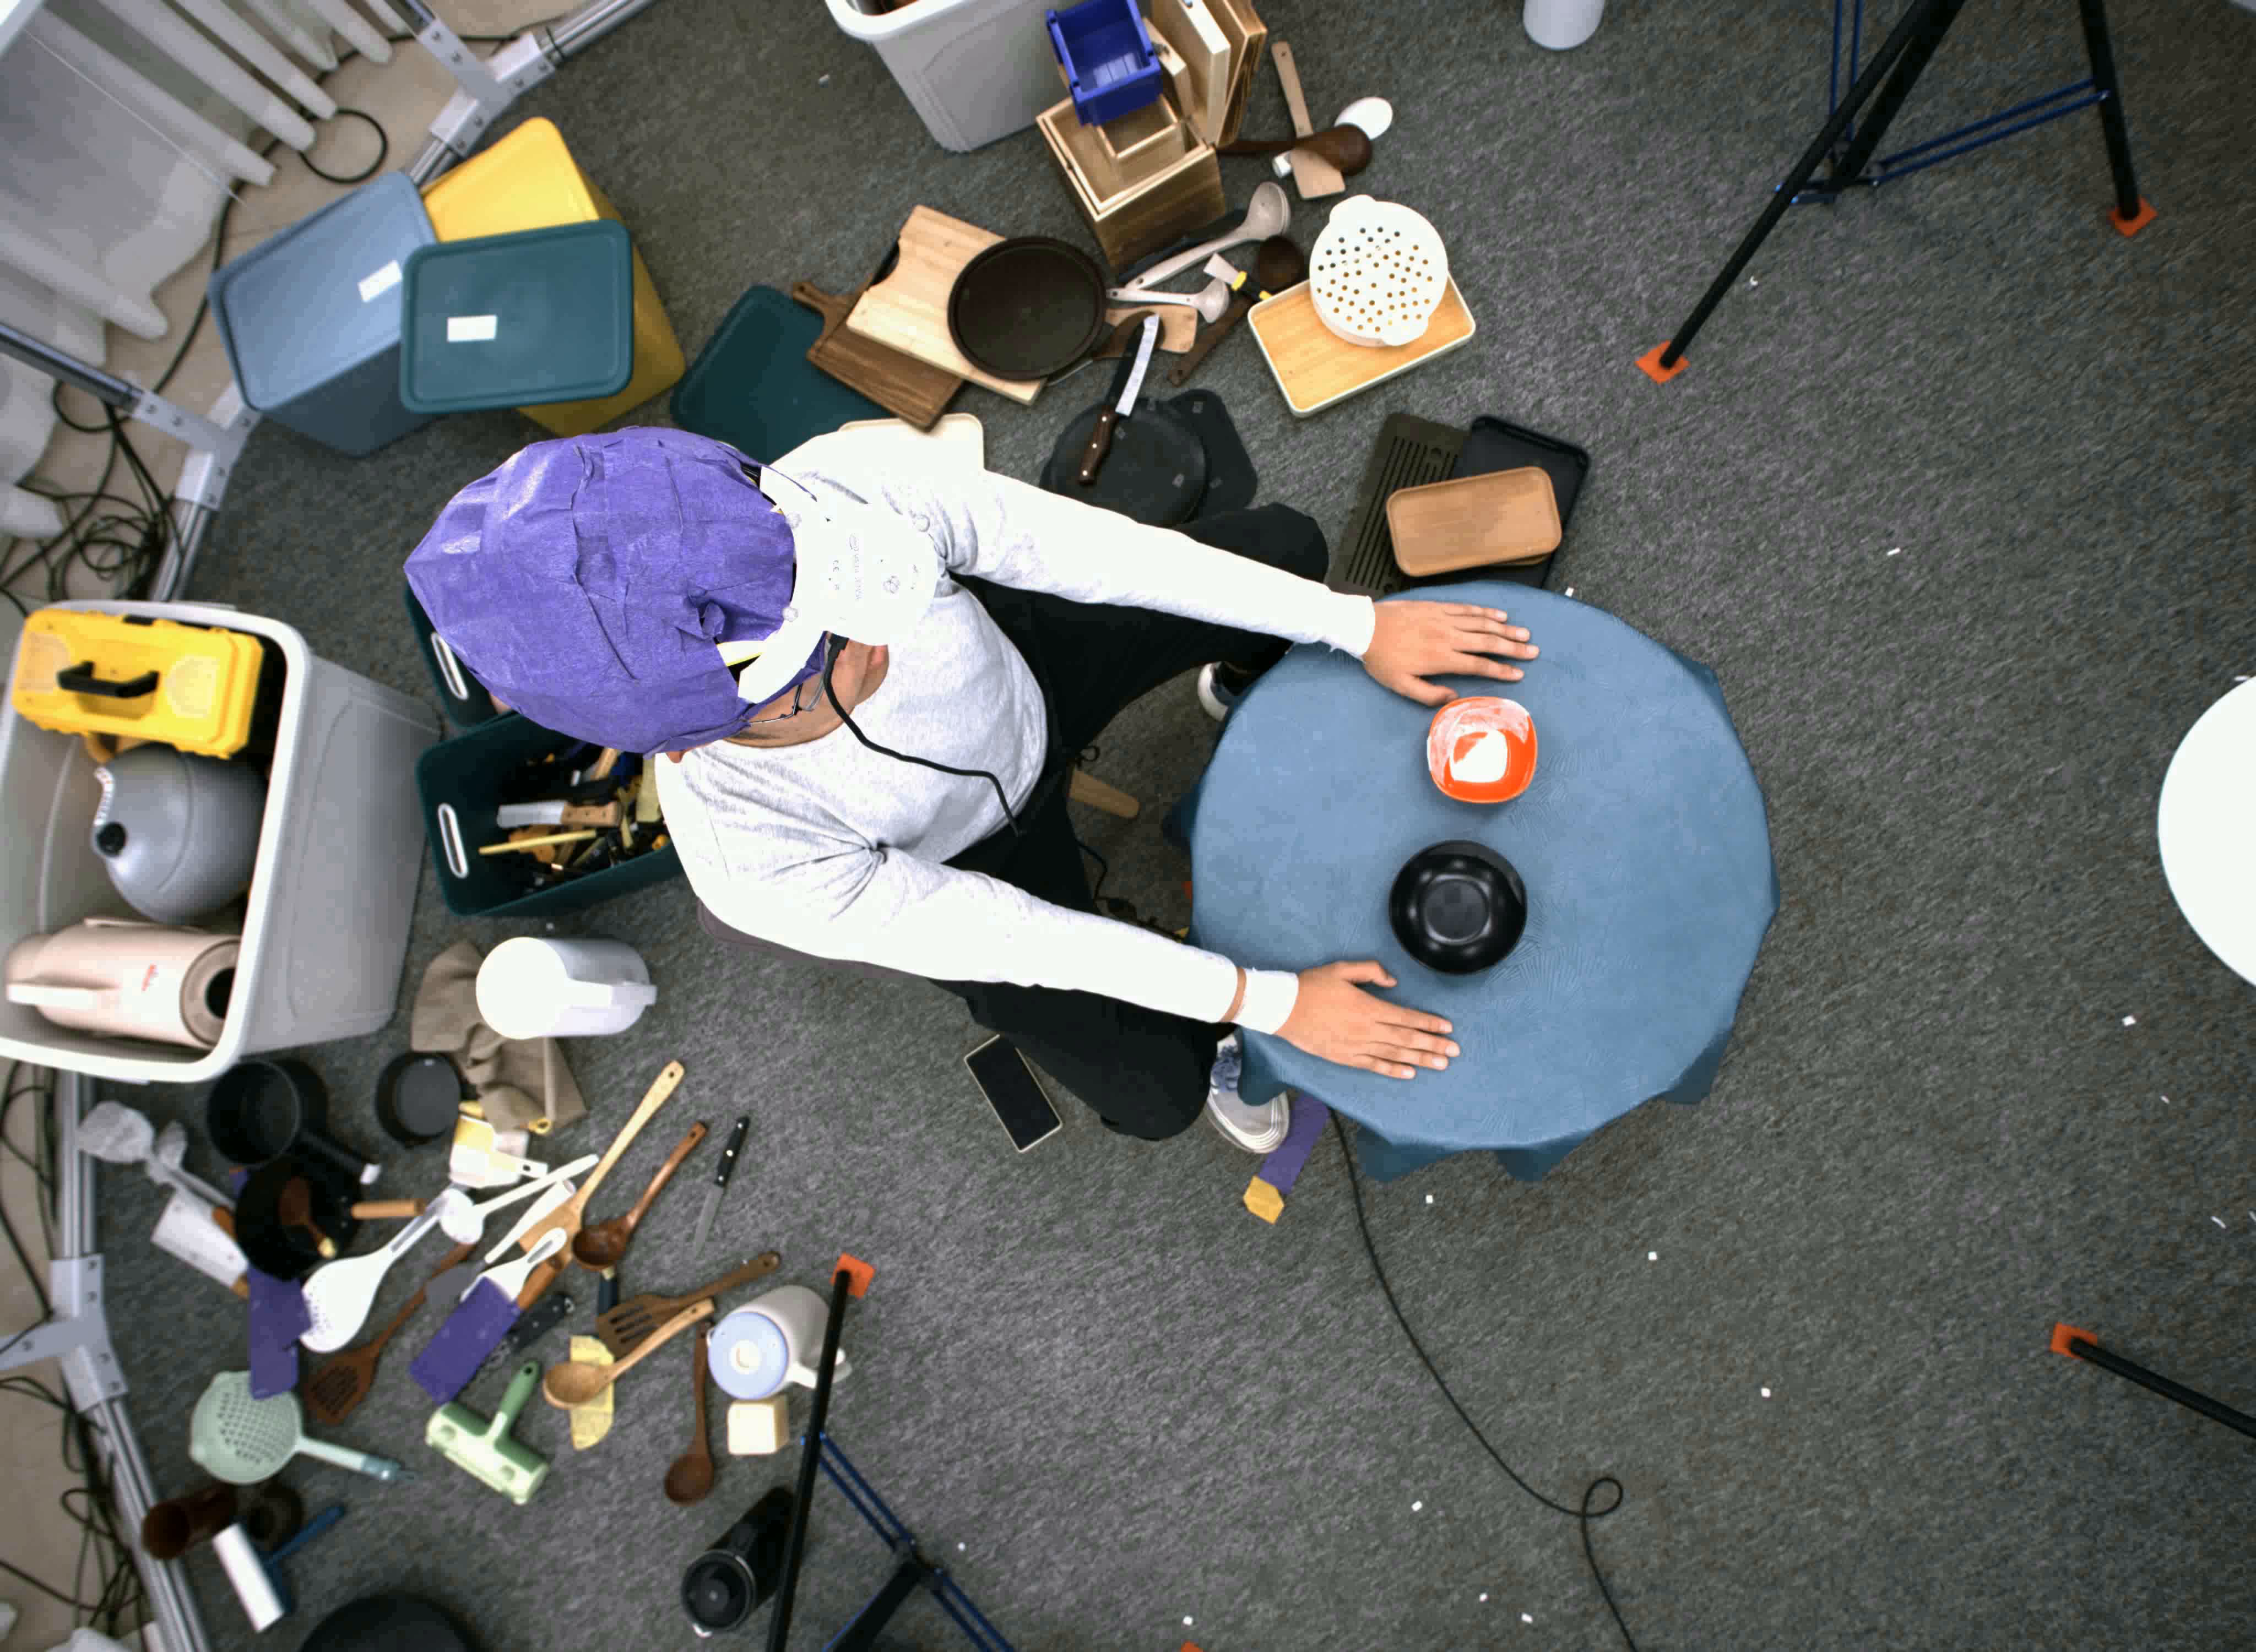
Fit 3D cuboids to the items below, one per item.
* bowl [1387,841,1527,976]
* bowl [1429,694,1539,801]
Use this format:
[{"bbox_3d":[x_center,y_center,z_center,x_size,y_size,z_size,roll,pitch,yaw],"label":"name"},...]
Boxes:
[{"bbox_3d":[0.339,0.084,1.423,0.140,0.050,0.139,-1,85,13],"label":"bowl"},{"bbox_3d":[0.367,-0.081,1.423,0.119,0.051,0.118,-1,87,9],"label":"bowl"}]
